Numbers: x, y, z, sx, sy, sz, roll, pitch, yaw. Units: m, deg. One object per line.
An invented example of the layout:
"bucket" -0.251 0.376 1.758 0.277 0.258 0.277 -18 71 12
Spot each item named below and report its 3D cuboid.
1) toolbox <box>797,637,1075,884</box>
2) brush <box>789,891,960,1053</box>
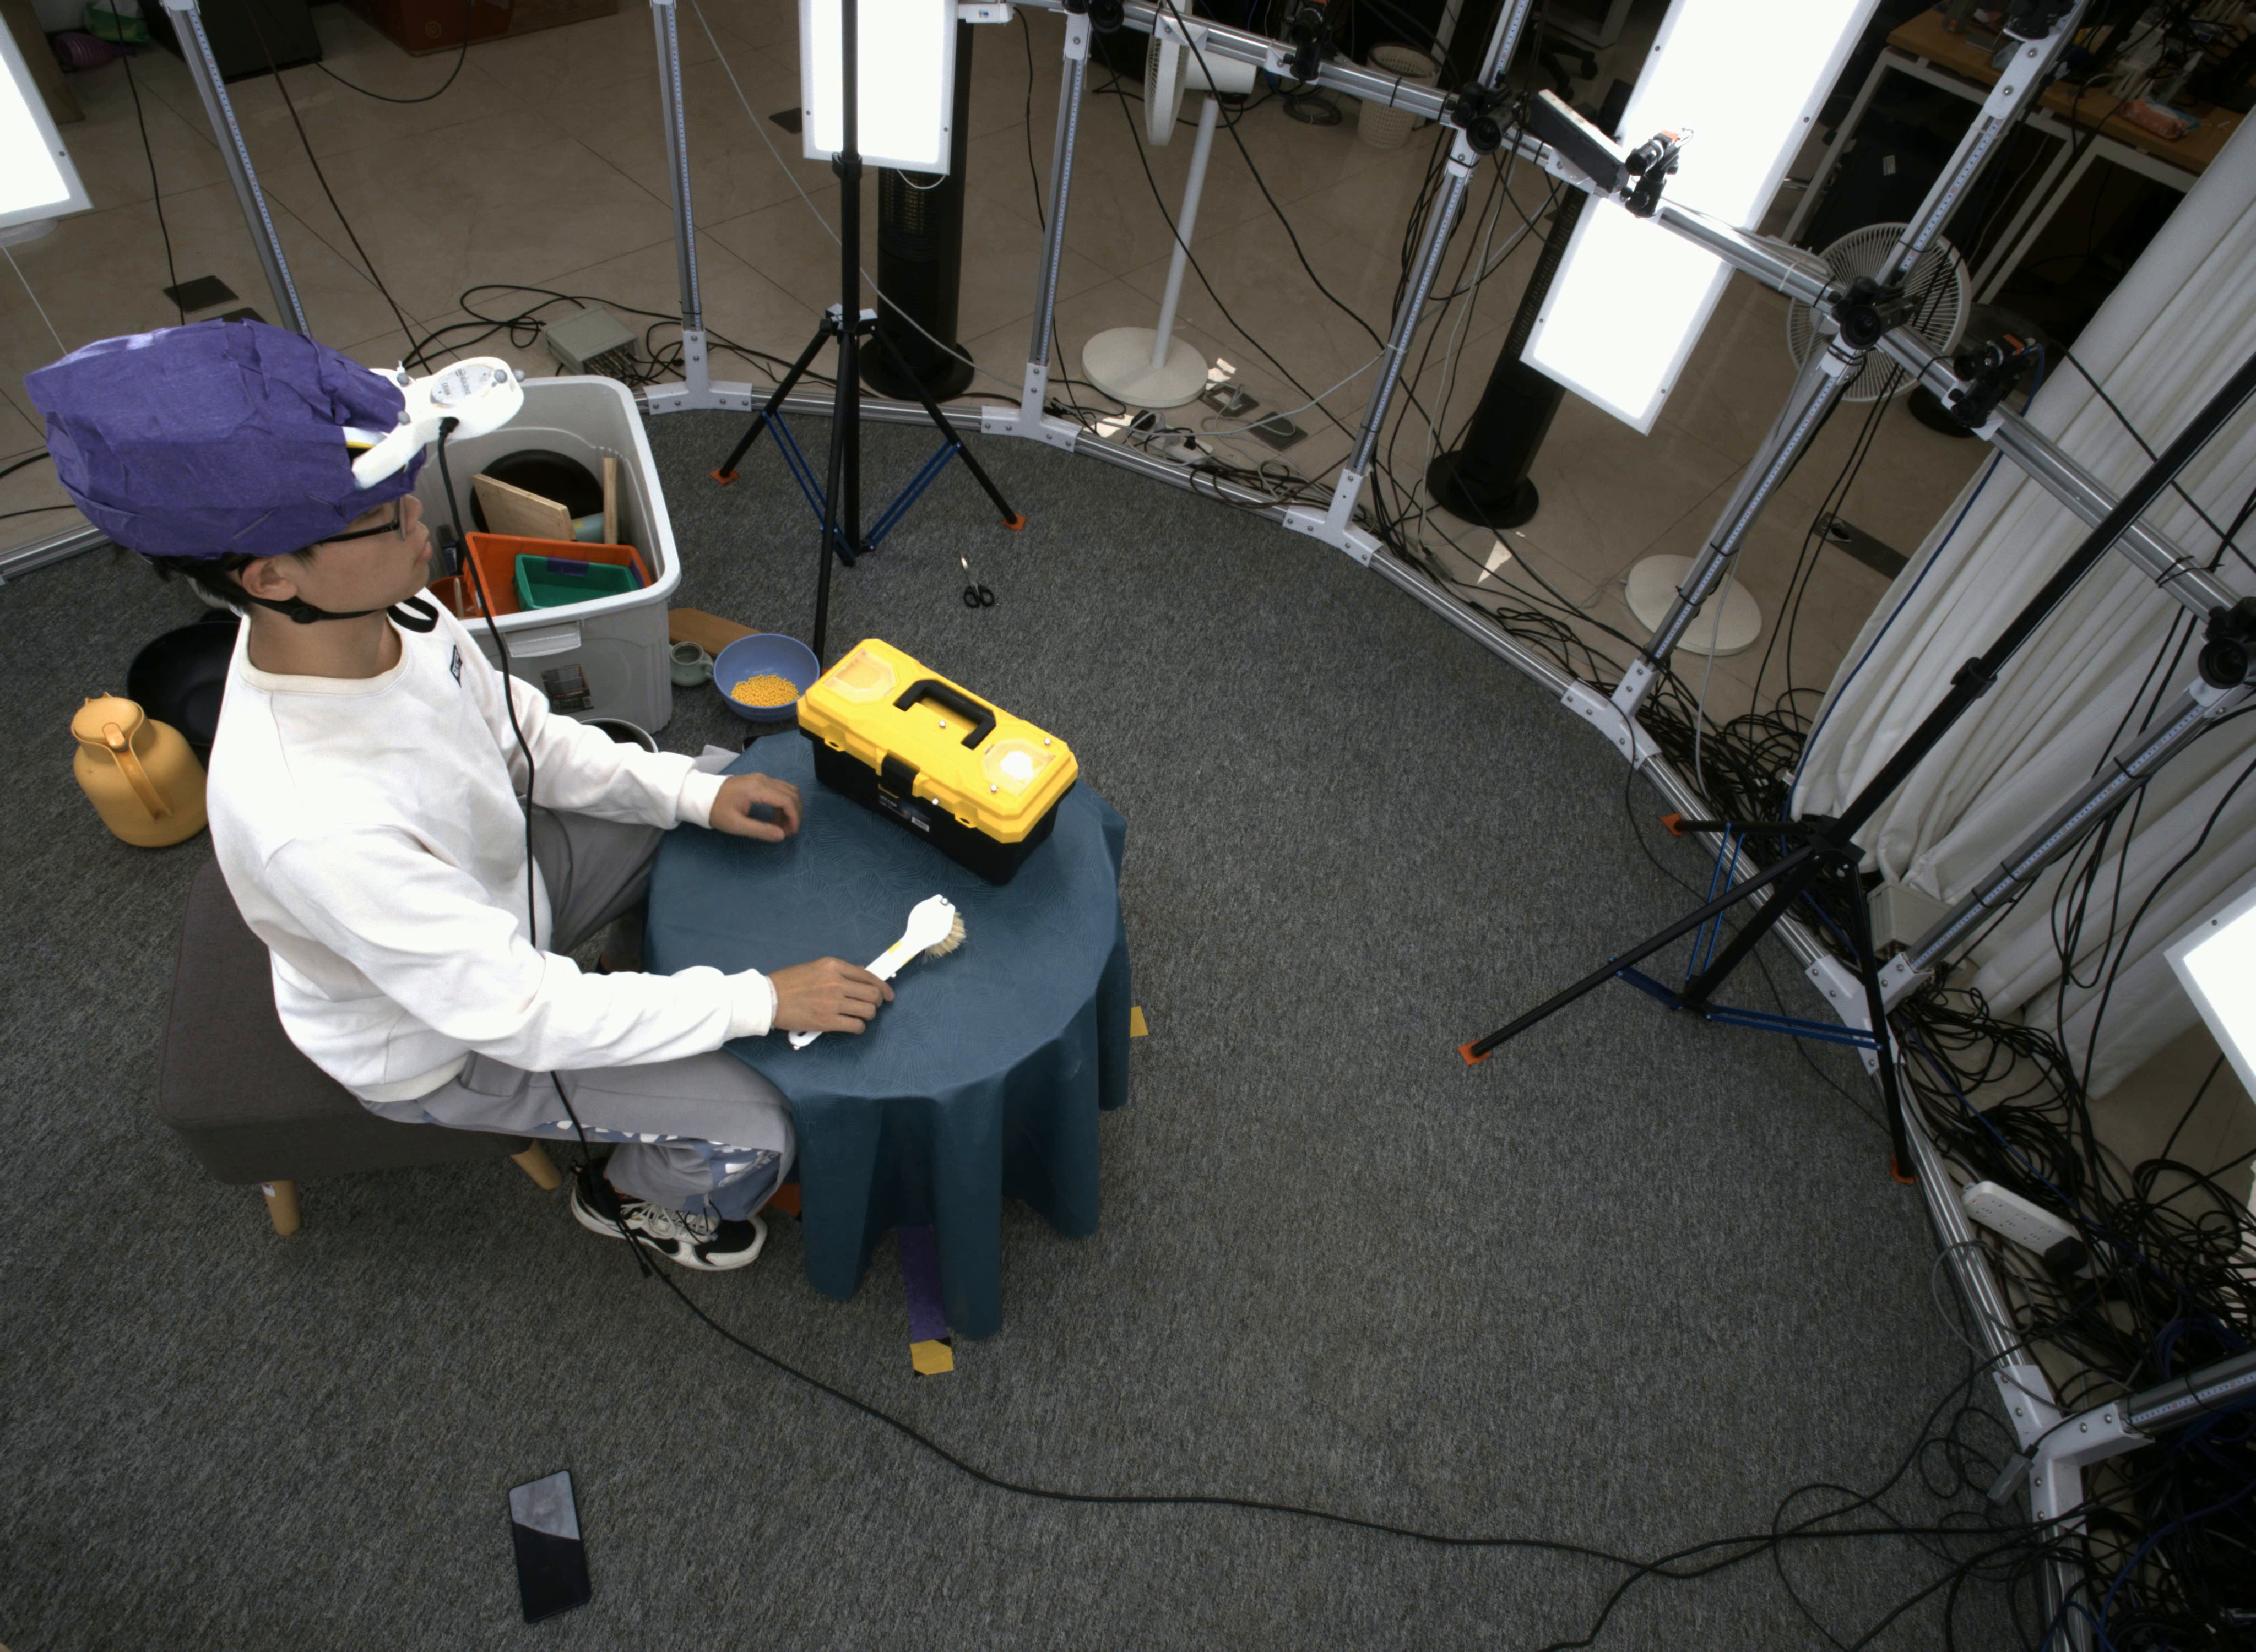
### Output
"toolbox" -0.257 -0.084 1.725 0.345 0.176 0.181 29 52 11
"brush" -0.313 0.187 1.612 0.066 0.058 0.266 30 67 33
